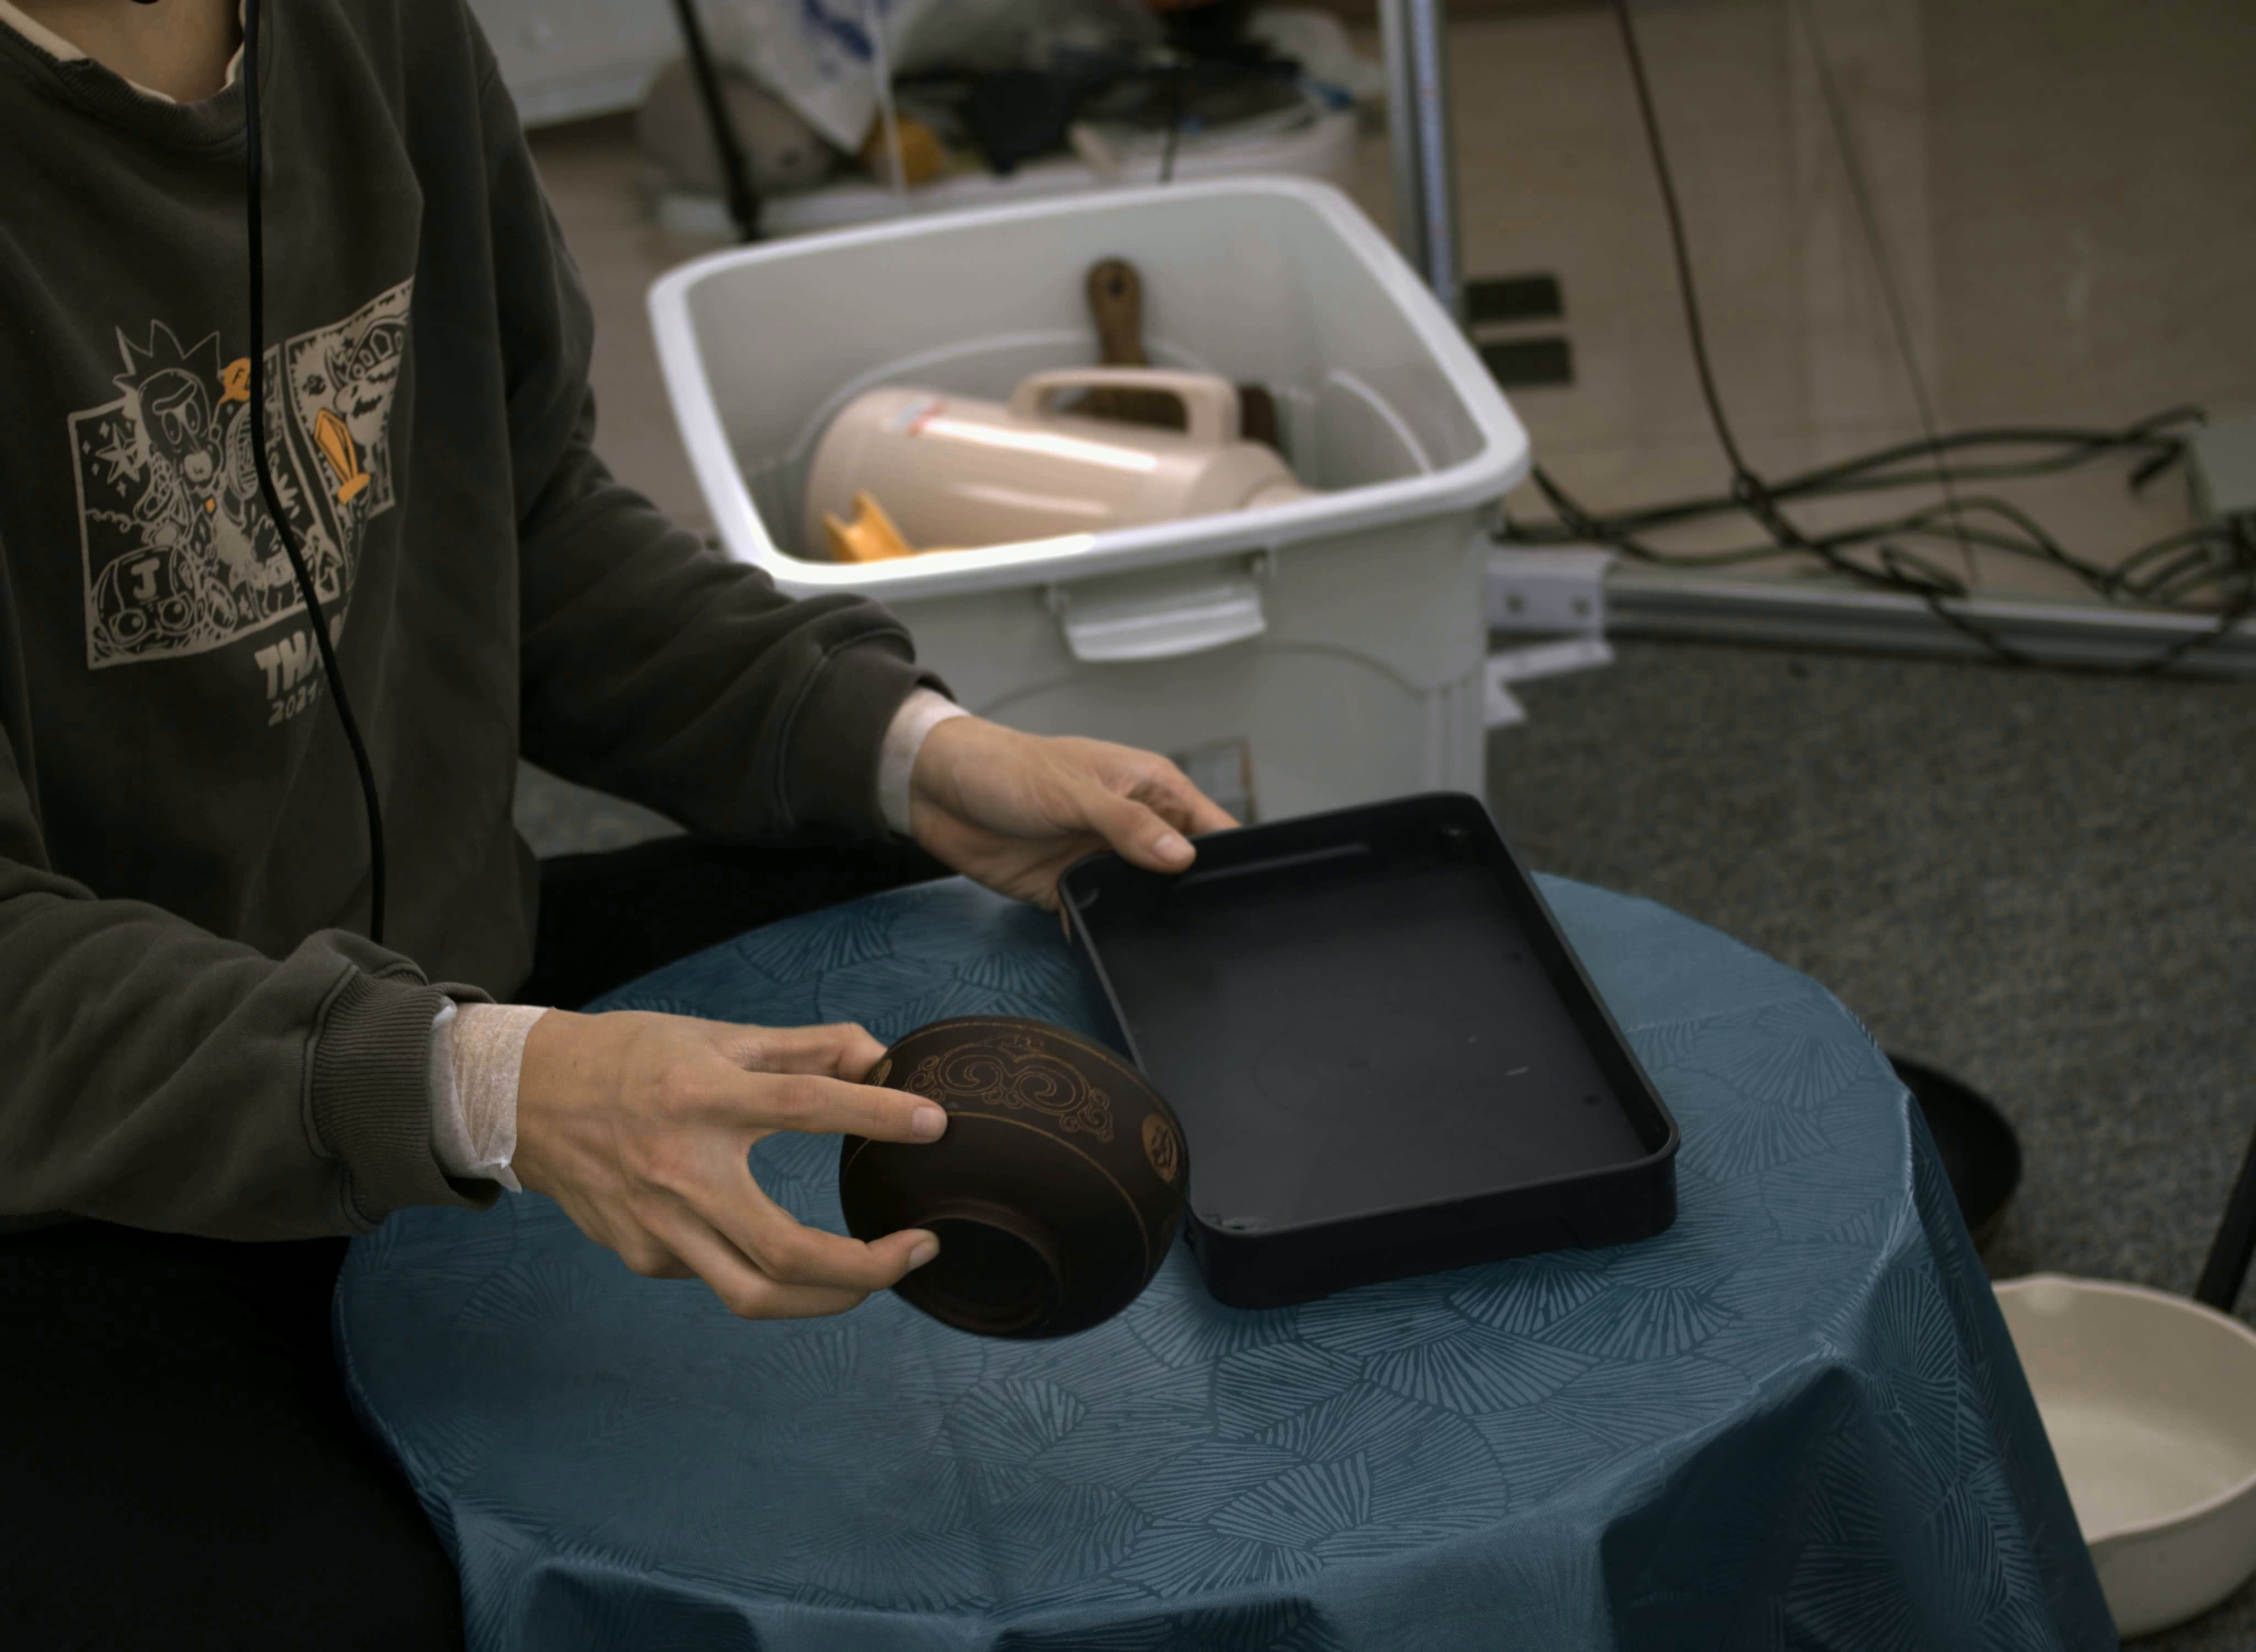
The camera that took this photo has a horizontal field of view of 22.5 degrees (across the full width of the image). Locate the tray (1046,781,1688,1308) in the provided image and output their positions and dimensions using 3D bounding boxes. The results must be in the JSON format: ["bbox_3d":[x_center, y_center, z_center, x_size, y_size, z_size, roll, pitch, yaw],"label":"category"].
[{"bbox_3d":[0.087,0.079,2.196,0.184,0.037,0.313,-12,29,-8],"label":"tray"}]

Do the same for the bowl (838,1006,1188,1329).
[{"bbox_3d":[-0.042,0.125,1.907,0.118,0.120,0.068,1,45,15],"label":"bowl"}]
